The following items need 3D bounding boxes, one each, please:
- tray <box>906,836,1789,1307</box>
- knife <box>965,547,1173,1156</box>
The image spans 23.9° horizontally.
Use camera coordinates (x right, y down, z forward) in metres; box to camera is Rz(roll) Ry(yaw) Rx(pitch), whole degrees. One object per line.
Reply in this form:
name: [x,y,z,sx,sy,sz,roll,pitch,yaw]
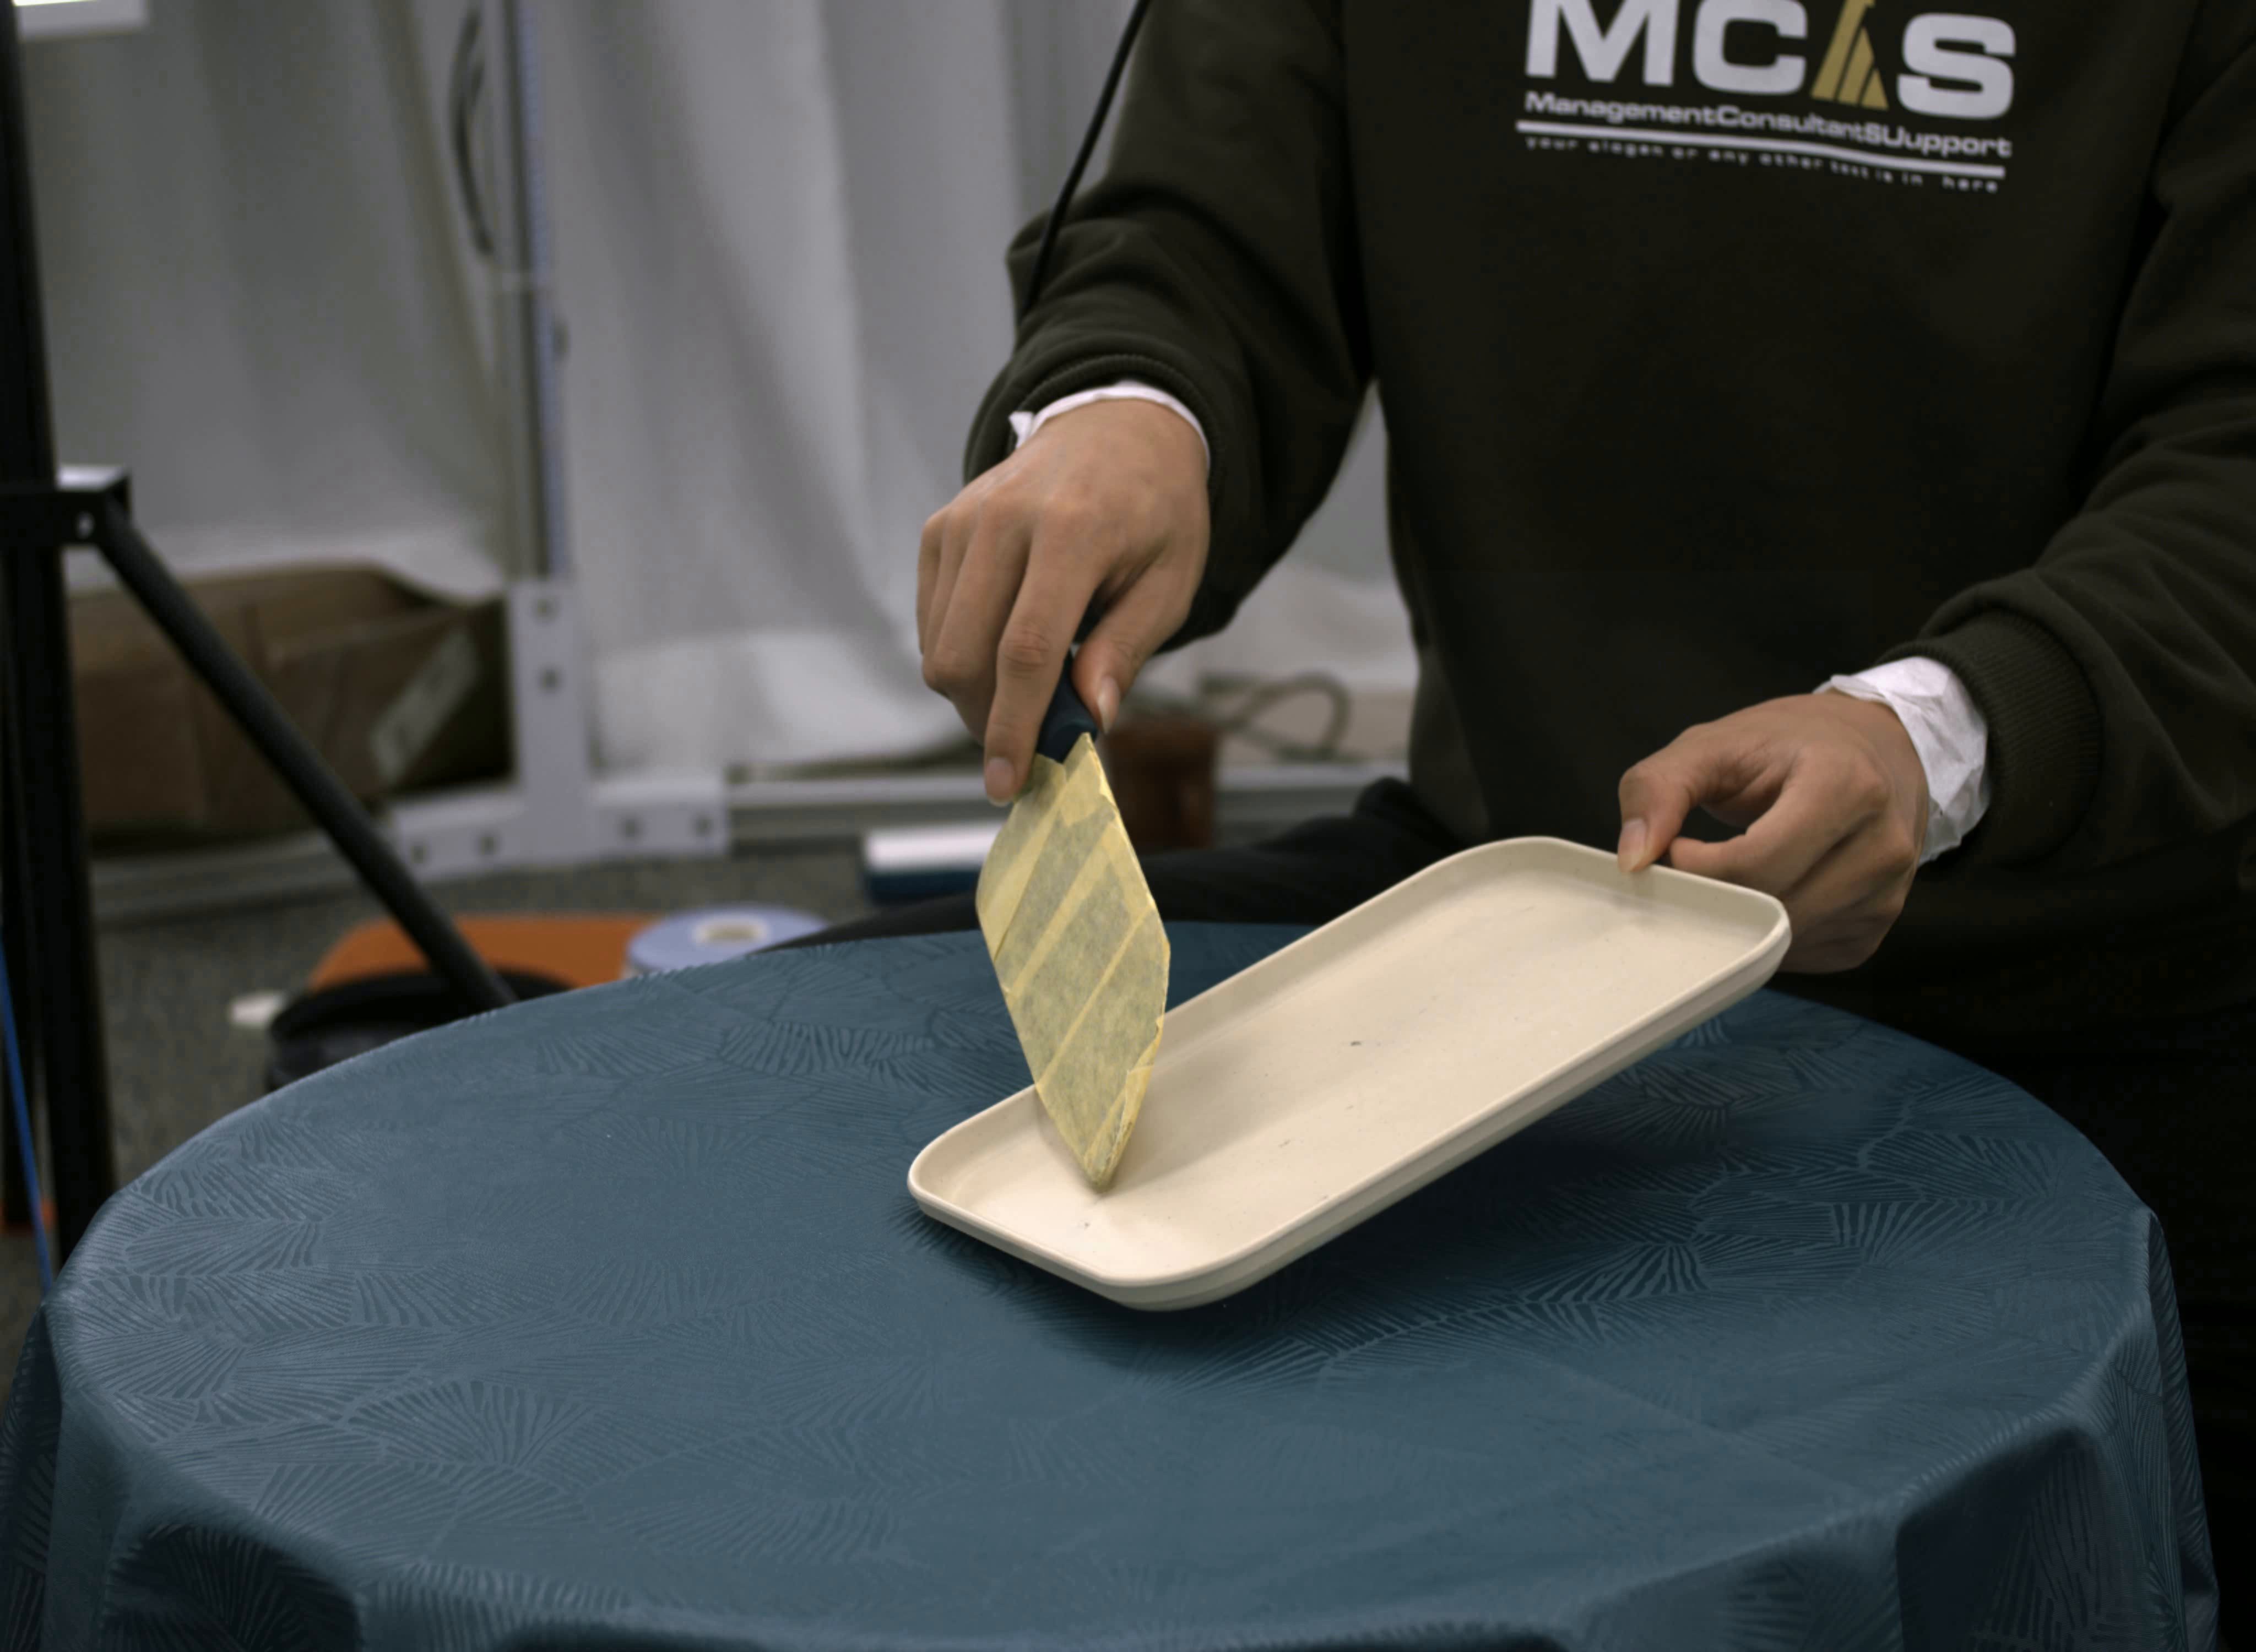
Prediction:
tray: [0.064,0.070,1.532,0.236,0.017,0.175,-28,20,-22]
knife: [-0.025,0.004,1.631,0.026,0.081,0.294,23,28,-25]
